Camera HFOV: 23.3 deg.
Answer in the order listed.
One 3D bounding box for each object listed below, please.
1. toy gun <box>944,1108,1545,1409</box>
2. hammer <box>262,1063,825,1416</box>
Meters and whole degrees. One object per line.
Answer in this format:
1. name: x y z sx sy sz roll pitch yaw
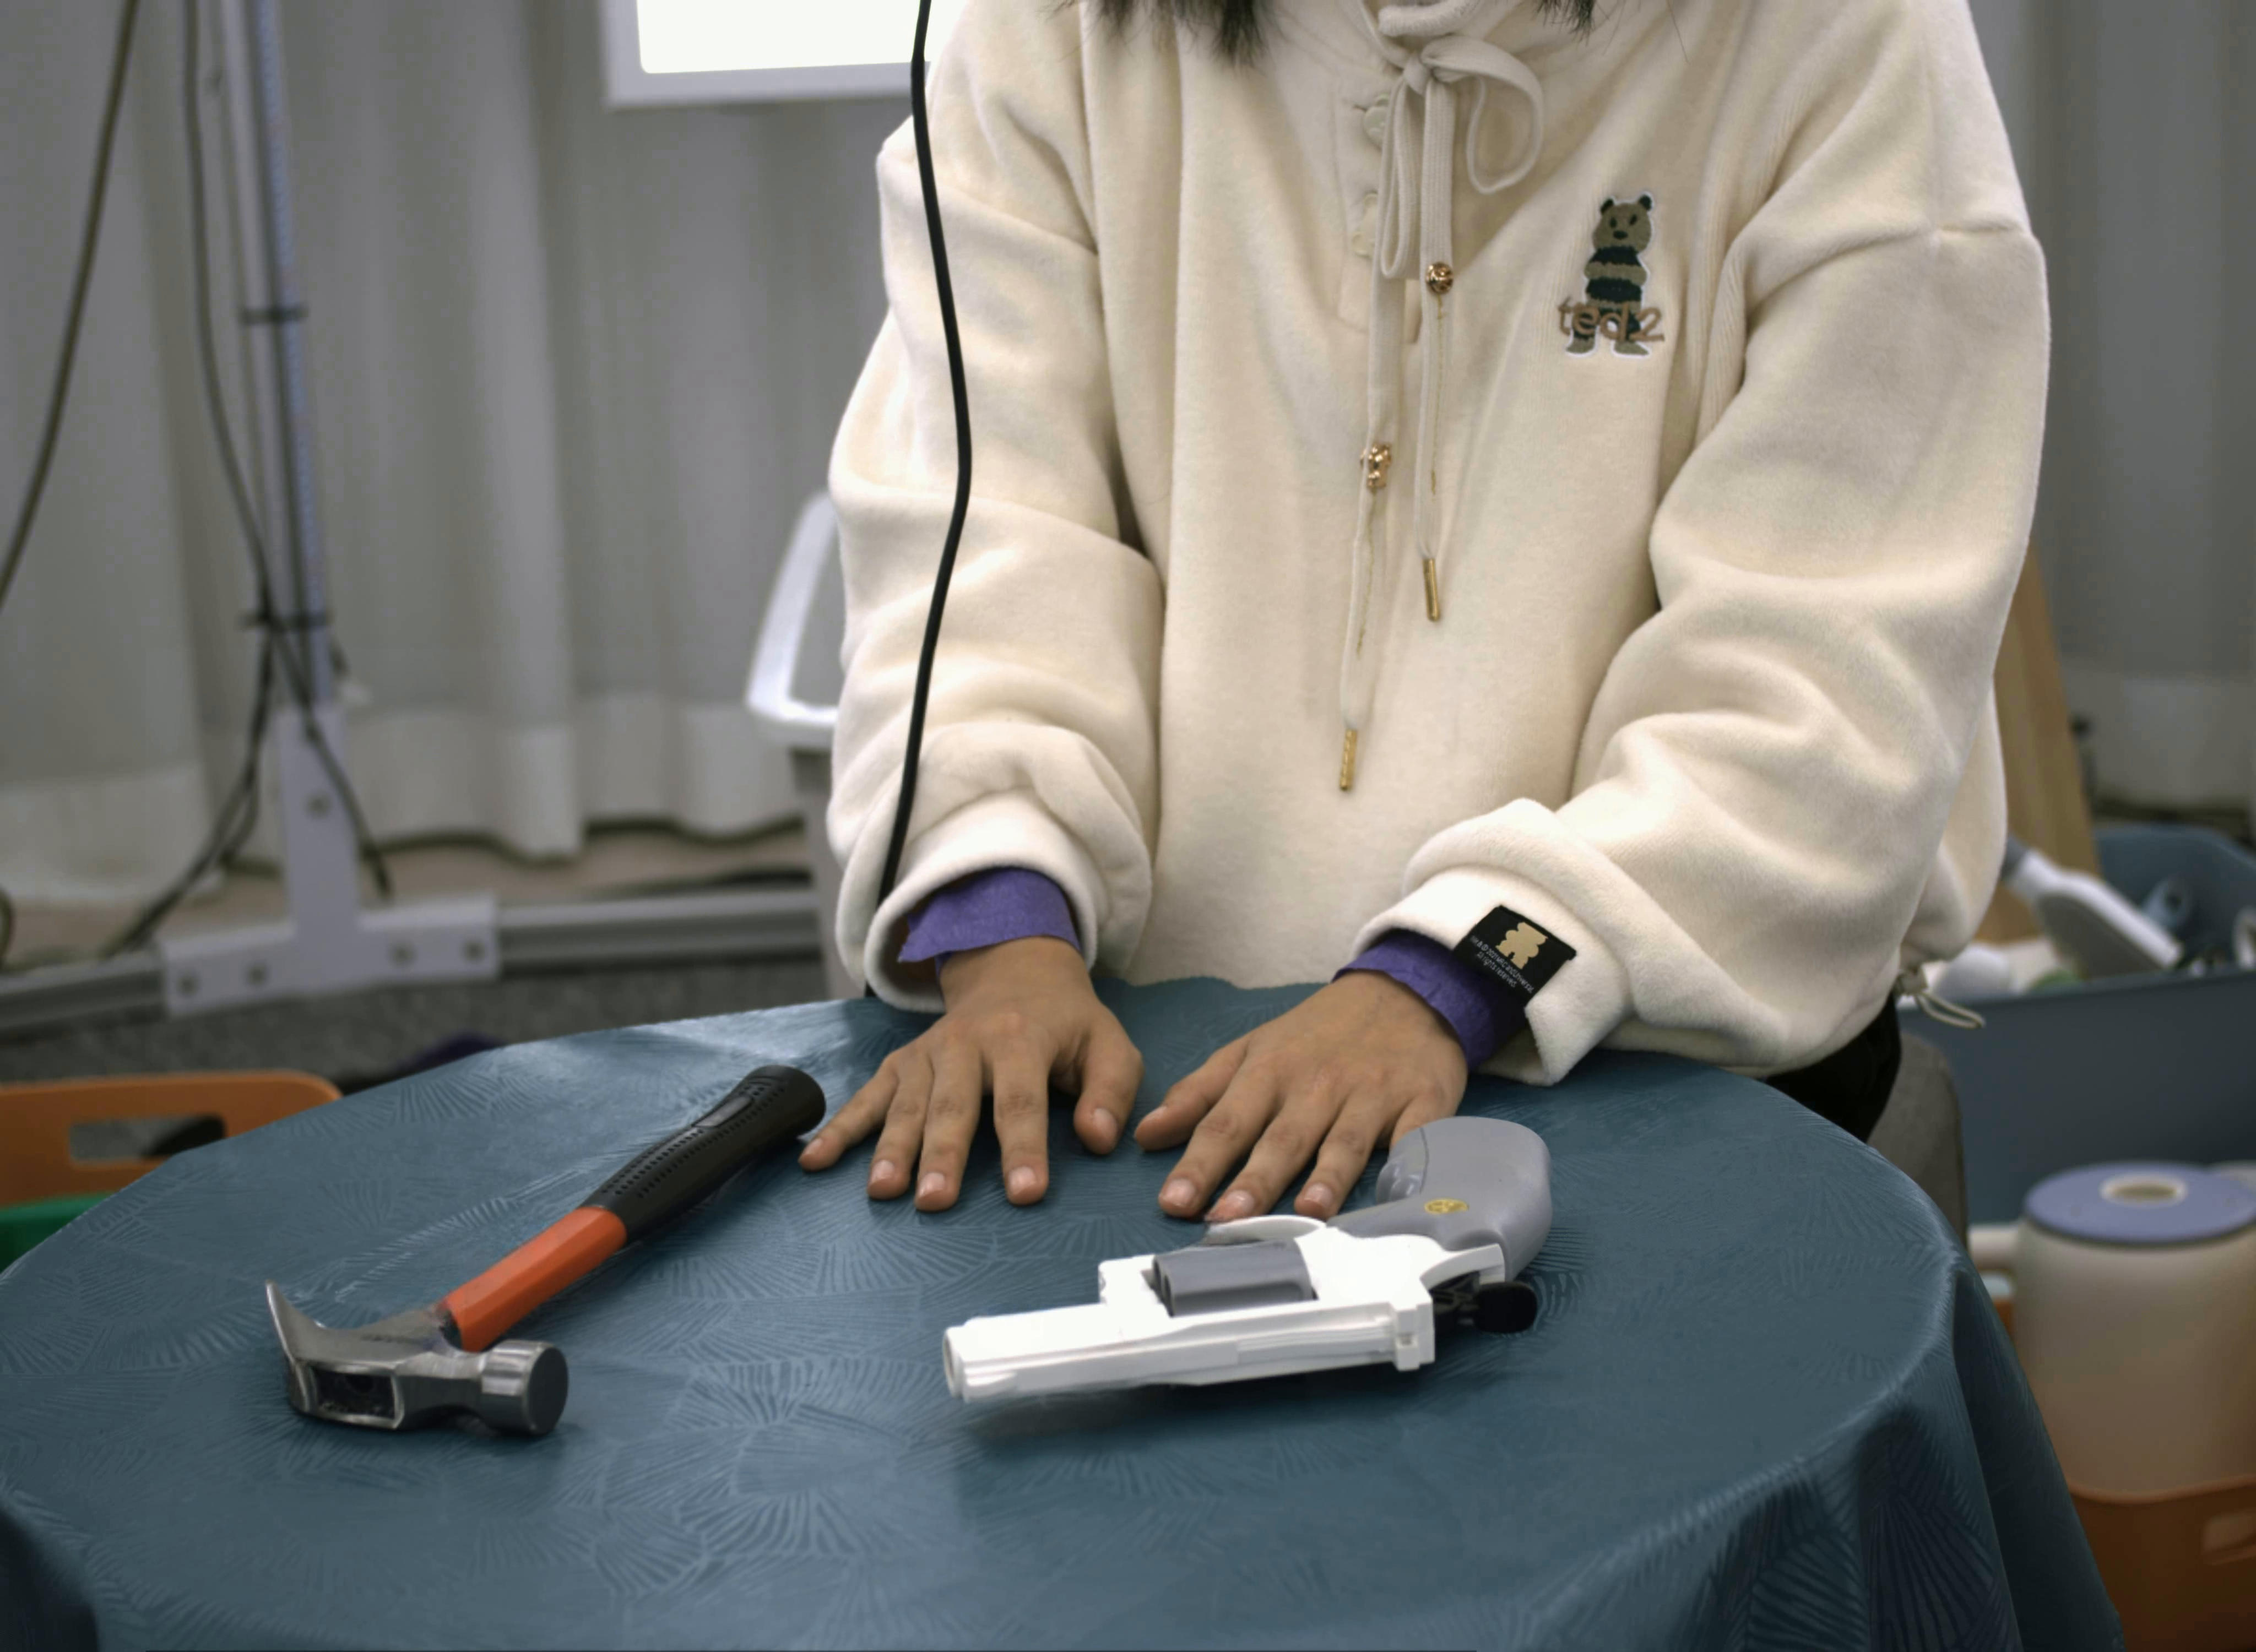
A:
1. toy gun: 0.039 0.127 1.580 0.208 0.038 0.143 -5 17 -13
2. hammer: -0.166 0.122 1.663 0.110 0.026 0.278 -6 12 25
